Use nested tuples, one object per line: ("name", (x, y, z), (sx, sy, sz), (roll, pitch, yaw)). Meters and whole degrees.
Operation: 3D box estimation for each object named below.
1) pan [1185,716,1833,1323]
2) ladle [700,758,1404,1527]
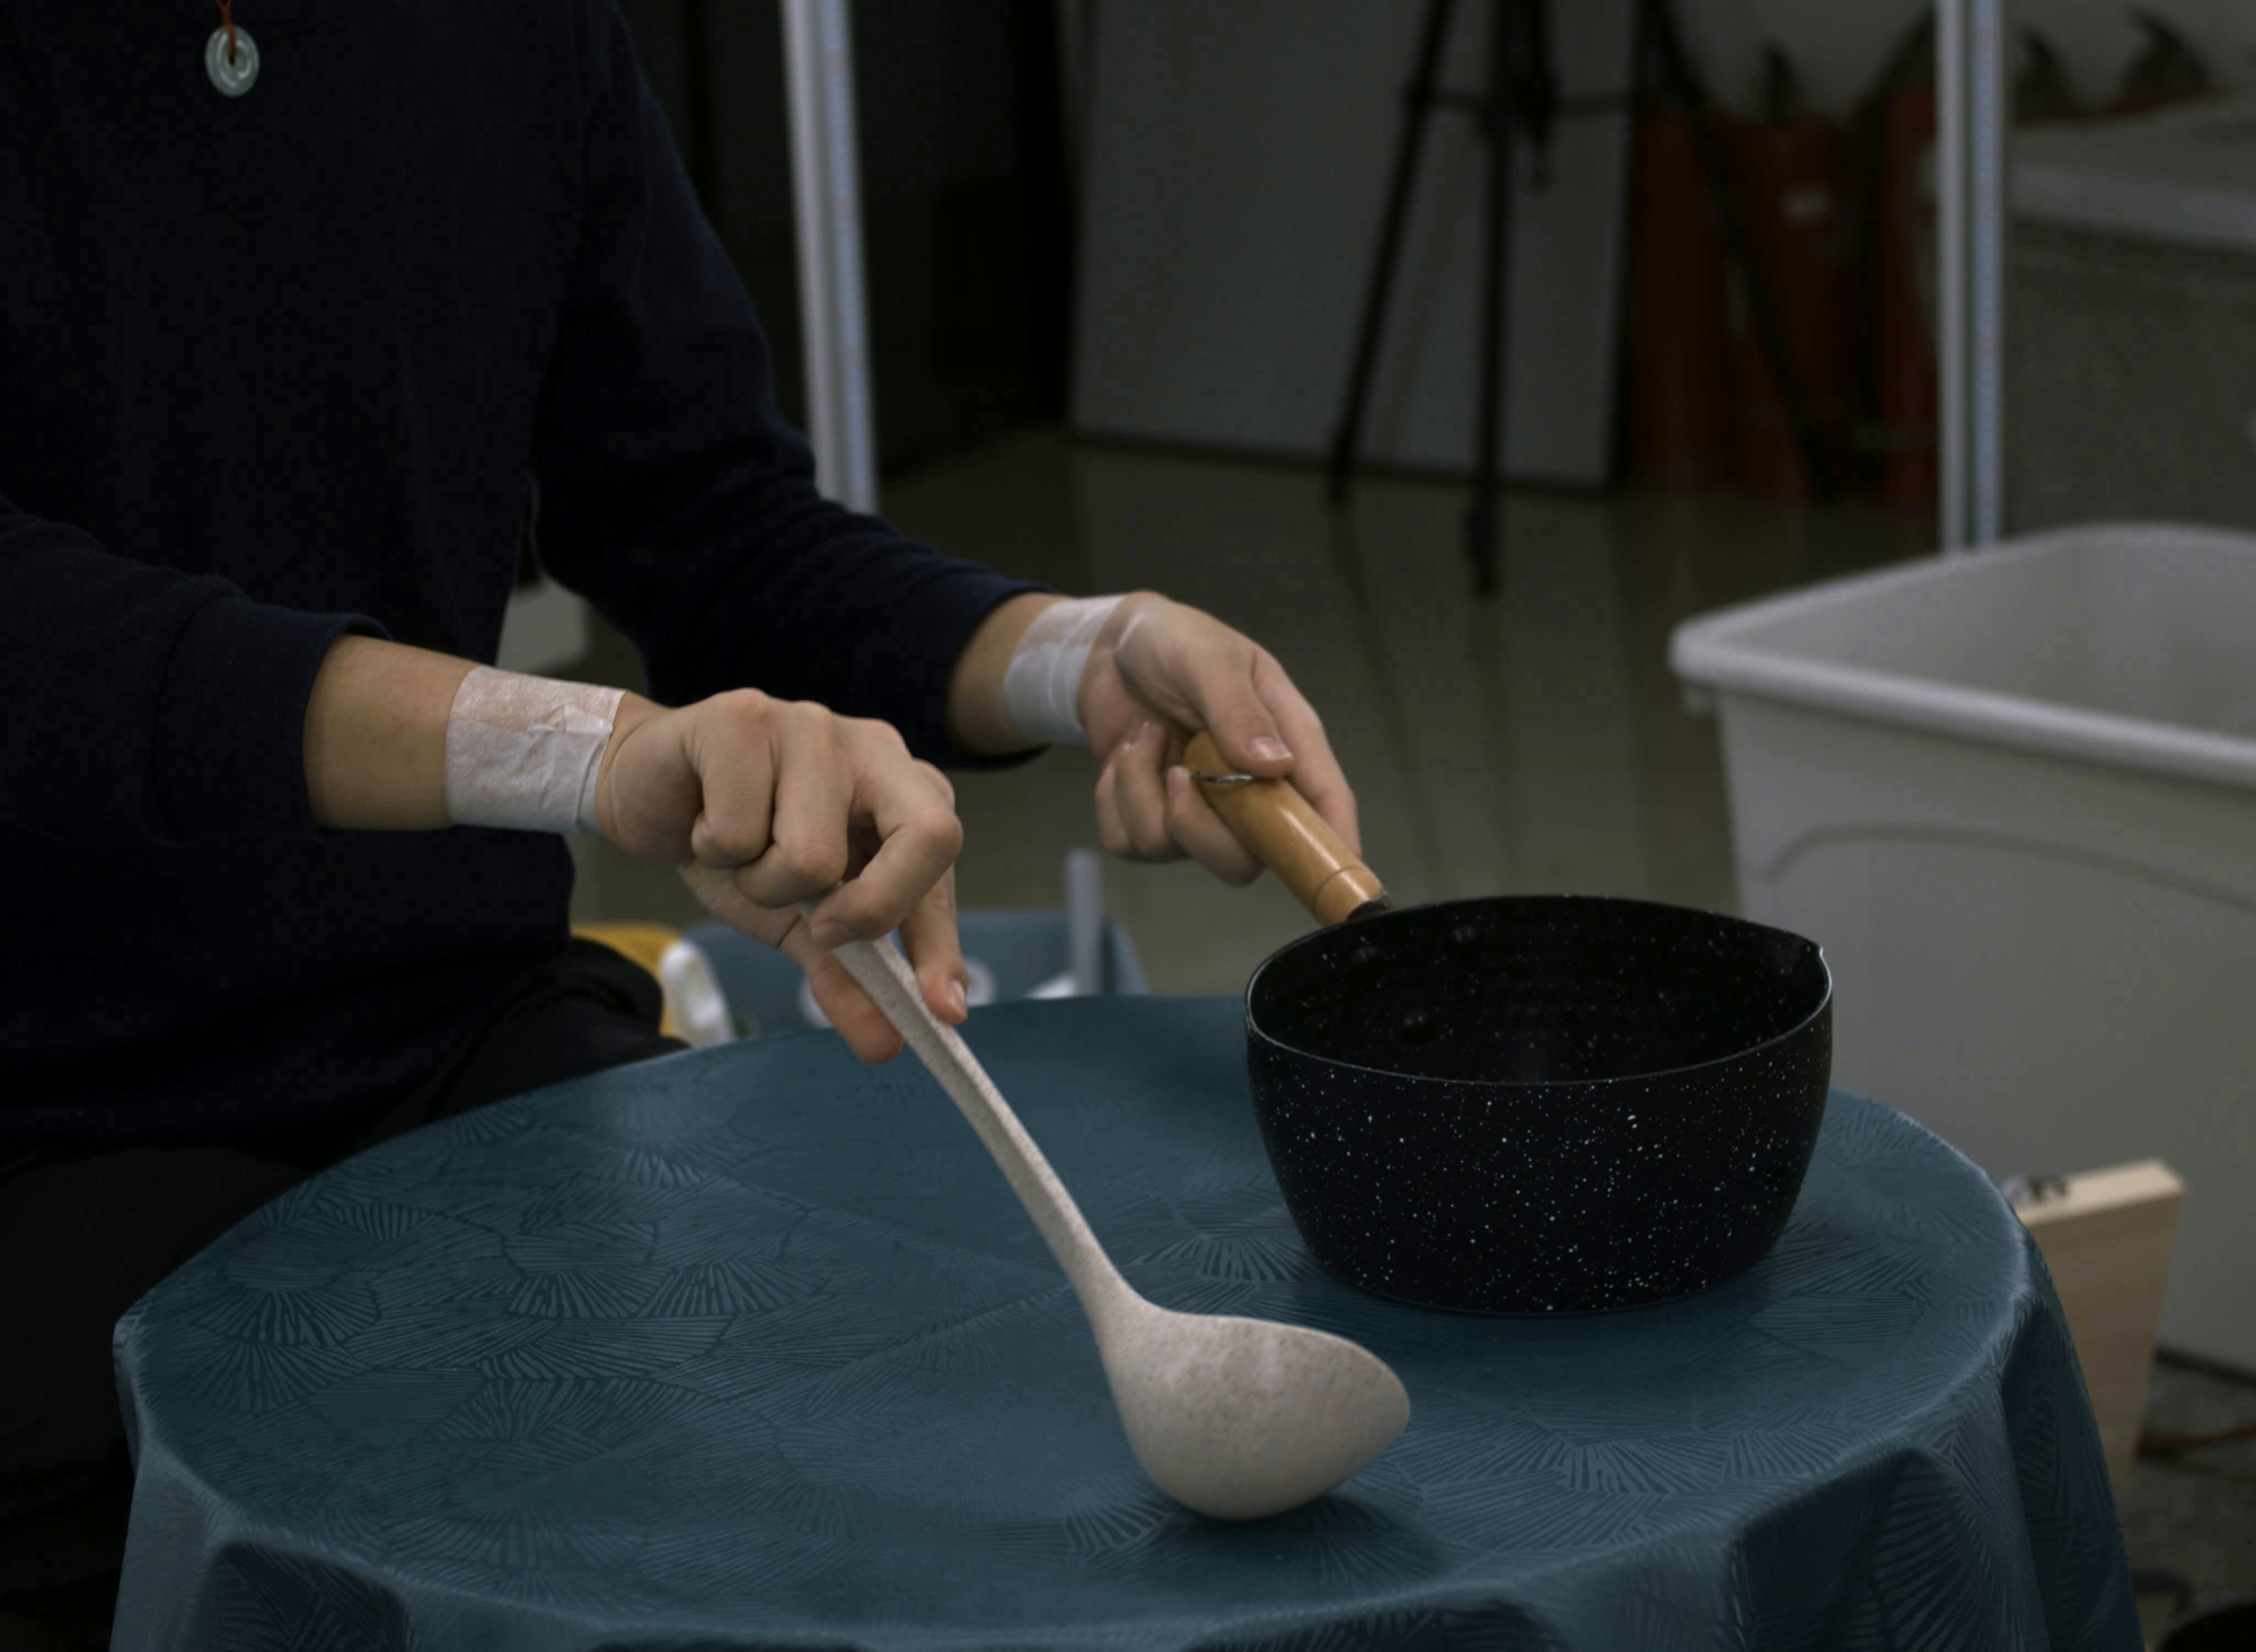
("pan", (0.095, 0.057, 1.748), (0.203, 0.109, 0.346), (-11, 19, -22))
("ladle", (-0.023, 0.076, 1.505), (0.068, 0.090, 0.278), (-24, 64, -22))
